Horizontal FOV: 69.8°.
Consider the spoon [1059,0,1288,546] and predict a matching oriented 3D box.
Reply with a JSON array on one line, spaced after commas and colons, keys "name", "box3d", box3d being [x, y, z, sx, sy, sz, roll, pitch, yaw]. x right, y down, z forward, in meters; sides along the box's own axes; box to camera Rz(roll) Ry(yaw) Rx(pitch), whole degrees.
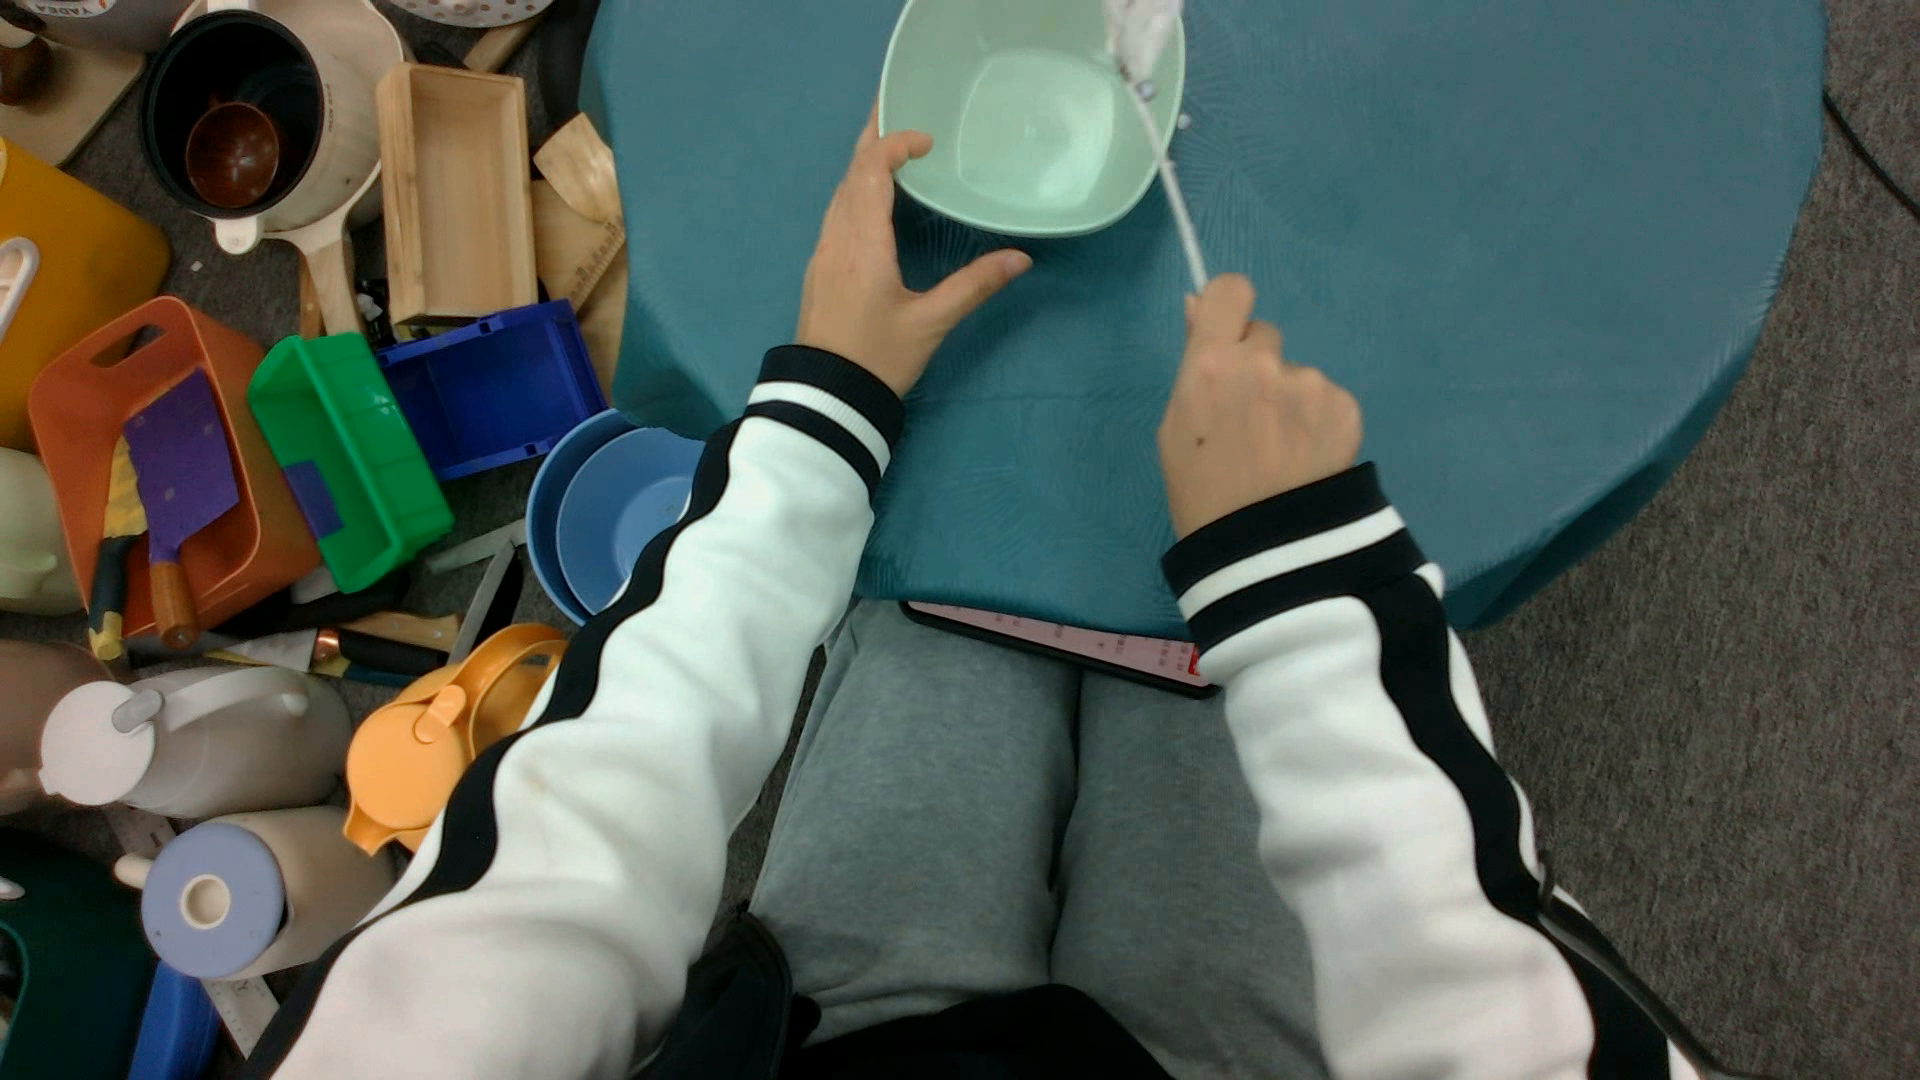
[{"name": "spoon", "box3d": [0.097, -0.136, 0.537, 0.059, 0.101, 0.277, -23, 85, 22]}]

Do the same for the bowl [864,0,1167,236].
[{"name": "bowl", "box3d": [0.028, -0.207, 0.666, 0.151, 0.058, 0.151, -1, 82, 5]}]
